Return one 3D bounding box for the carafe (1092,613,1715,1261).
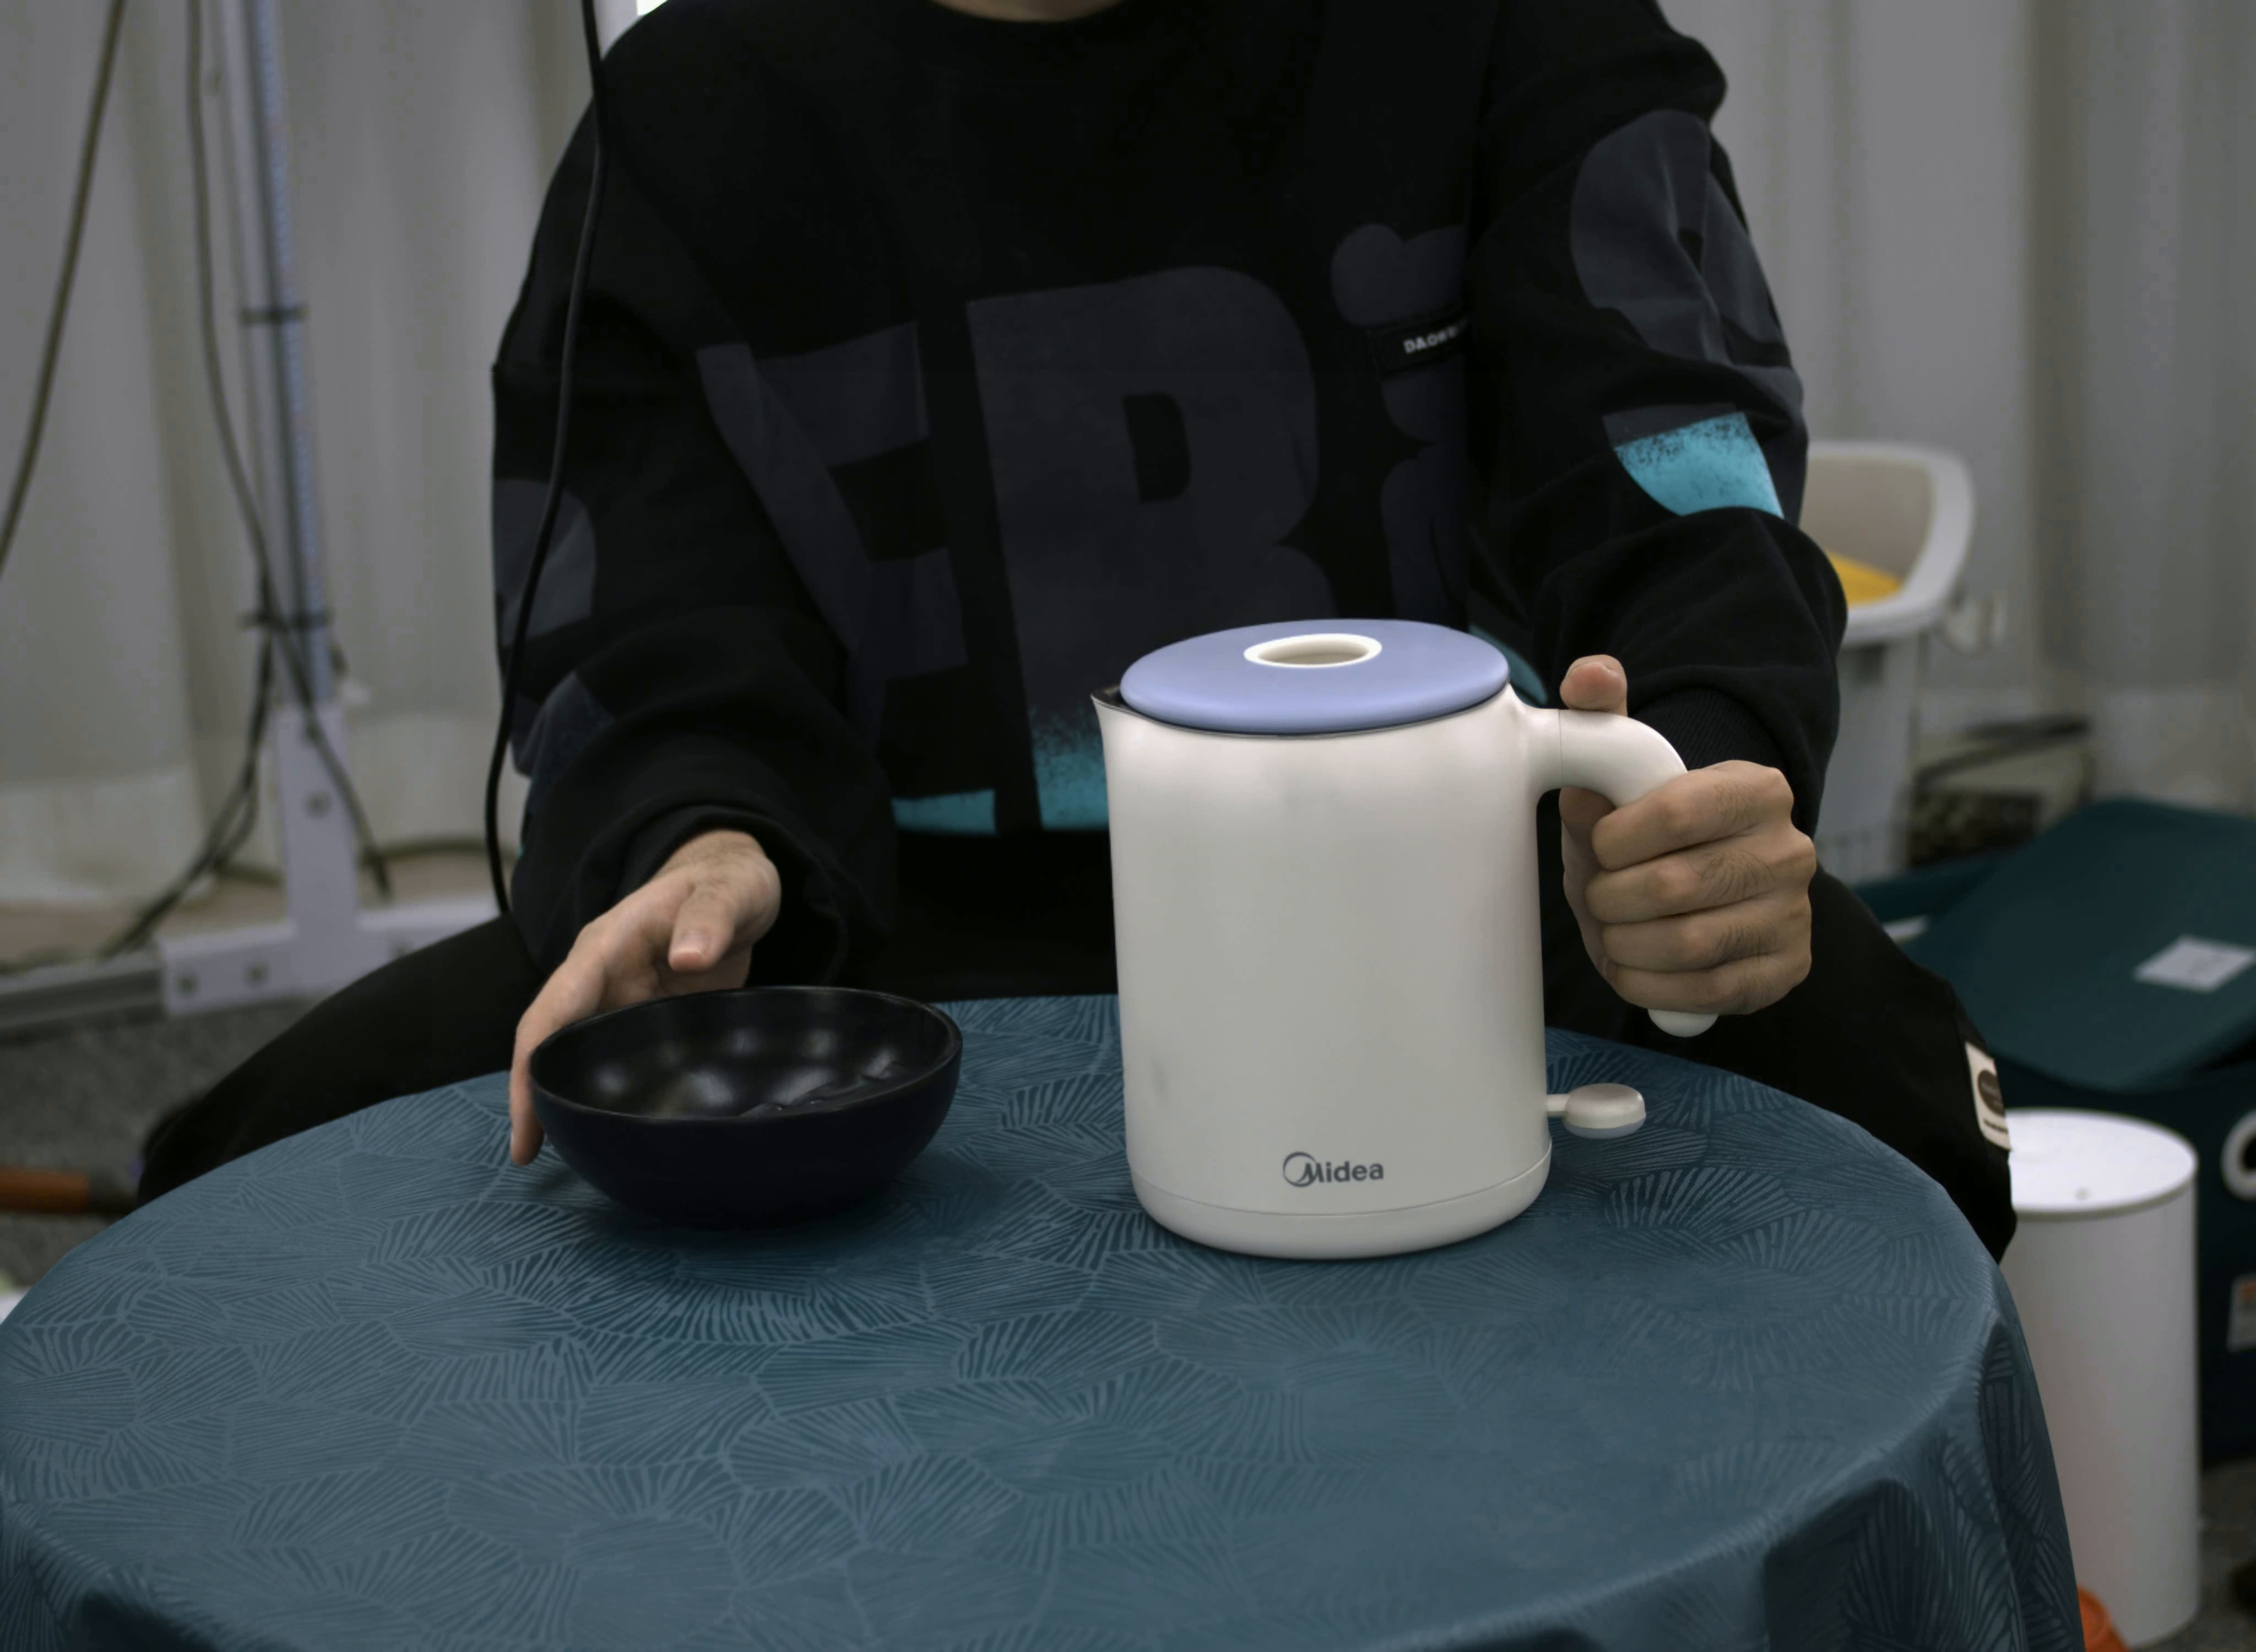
[{"bbox_3d":[0.085,0.033,1.676,0.190,0.182,0.133,0,15,2],"label":"carafe"}]

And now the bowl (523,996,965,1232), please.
[{"bbox_3d":[-0.119,0.095,1.721,0.139,0.049,0.141,-3,12,0],"label":"bowl"}]
